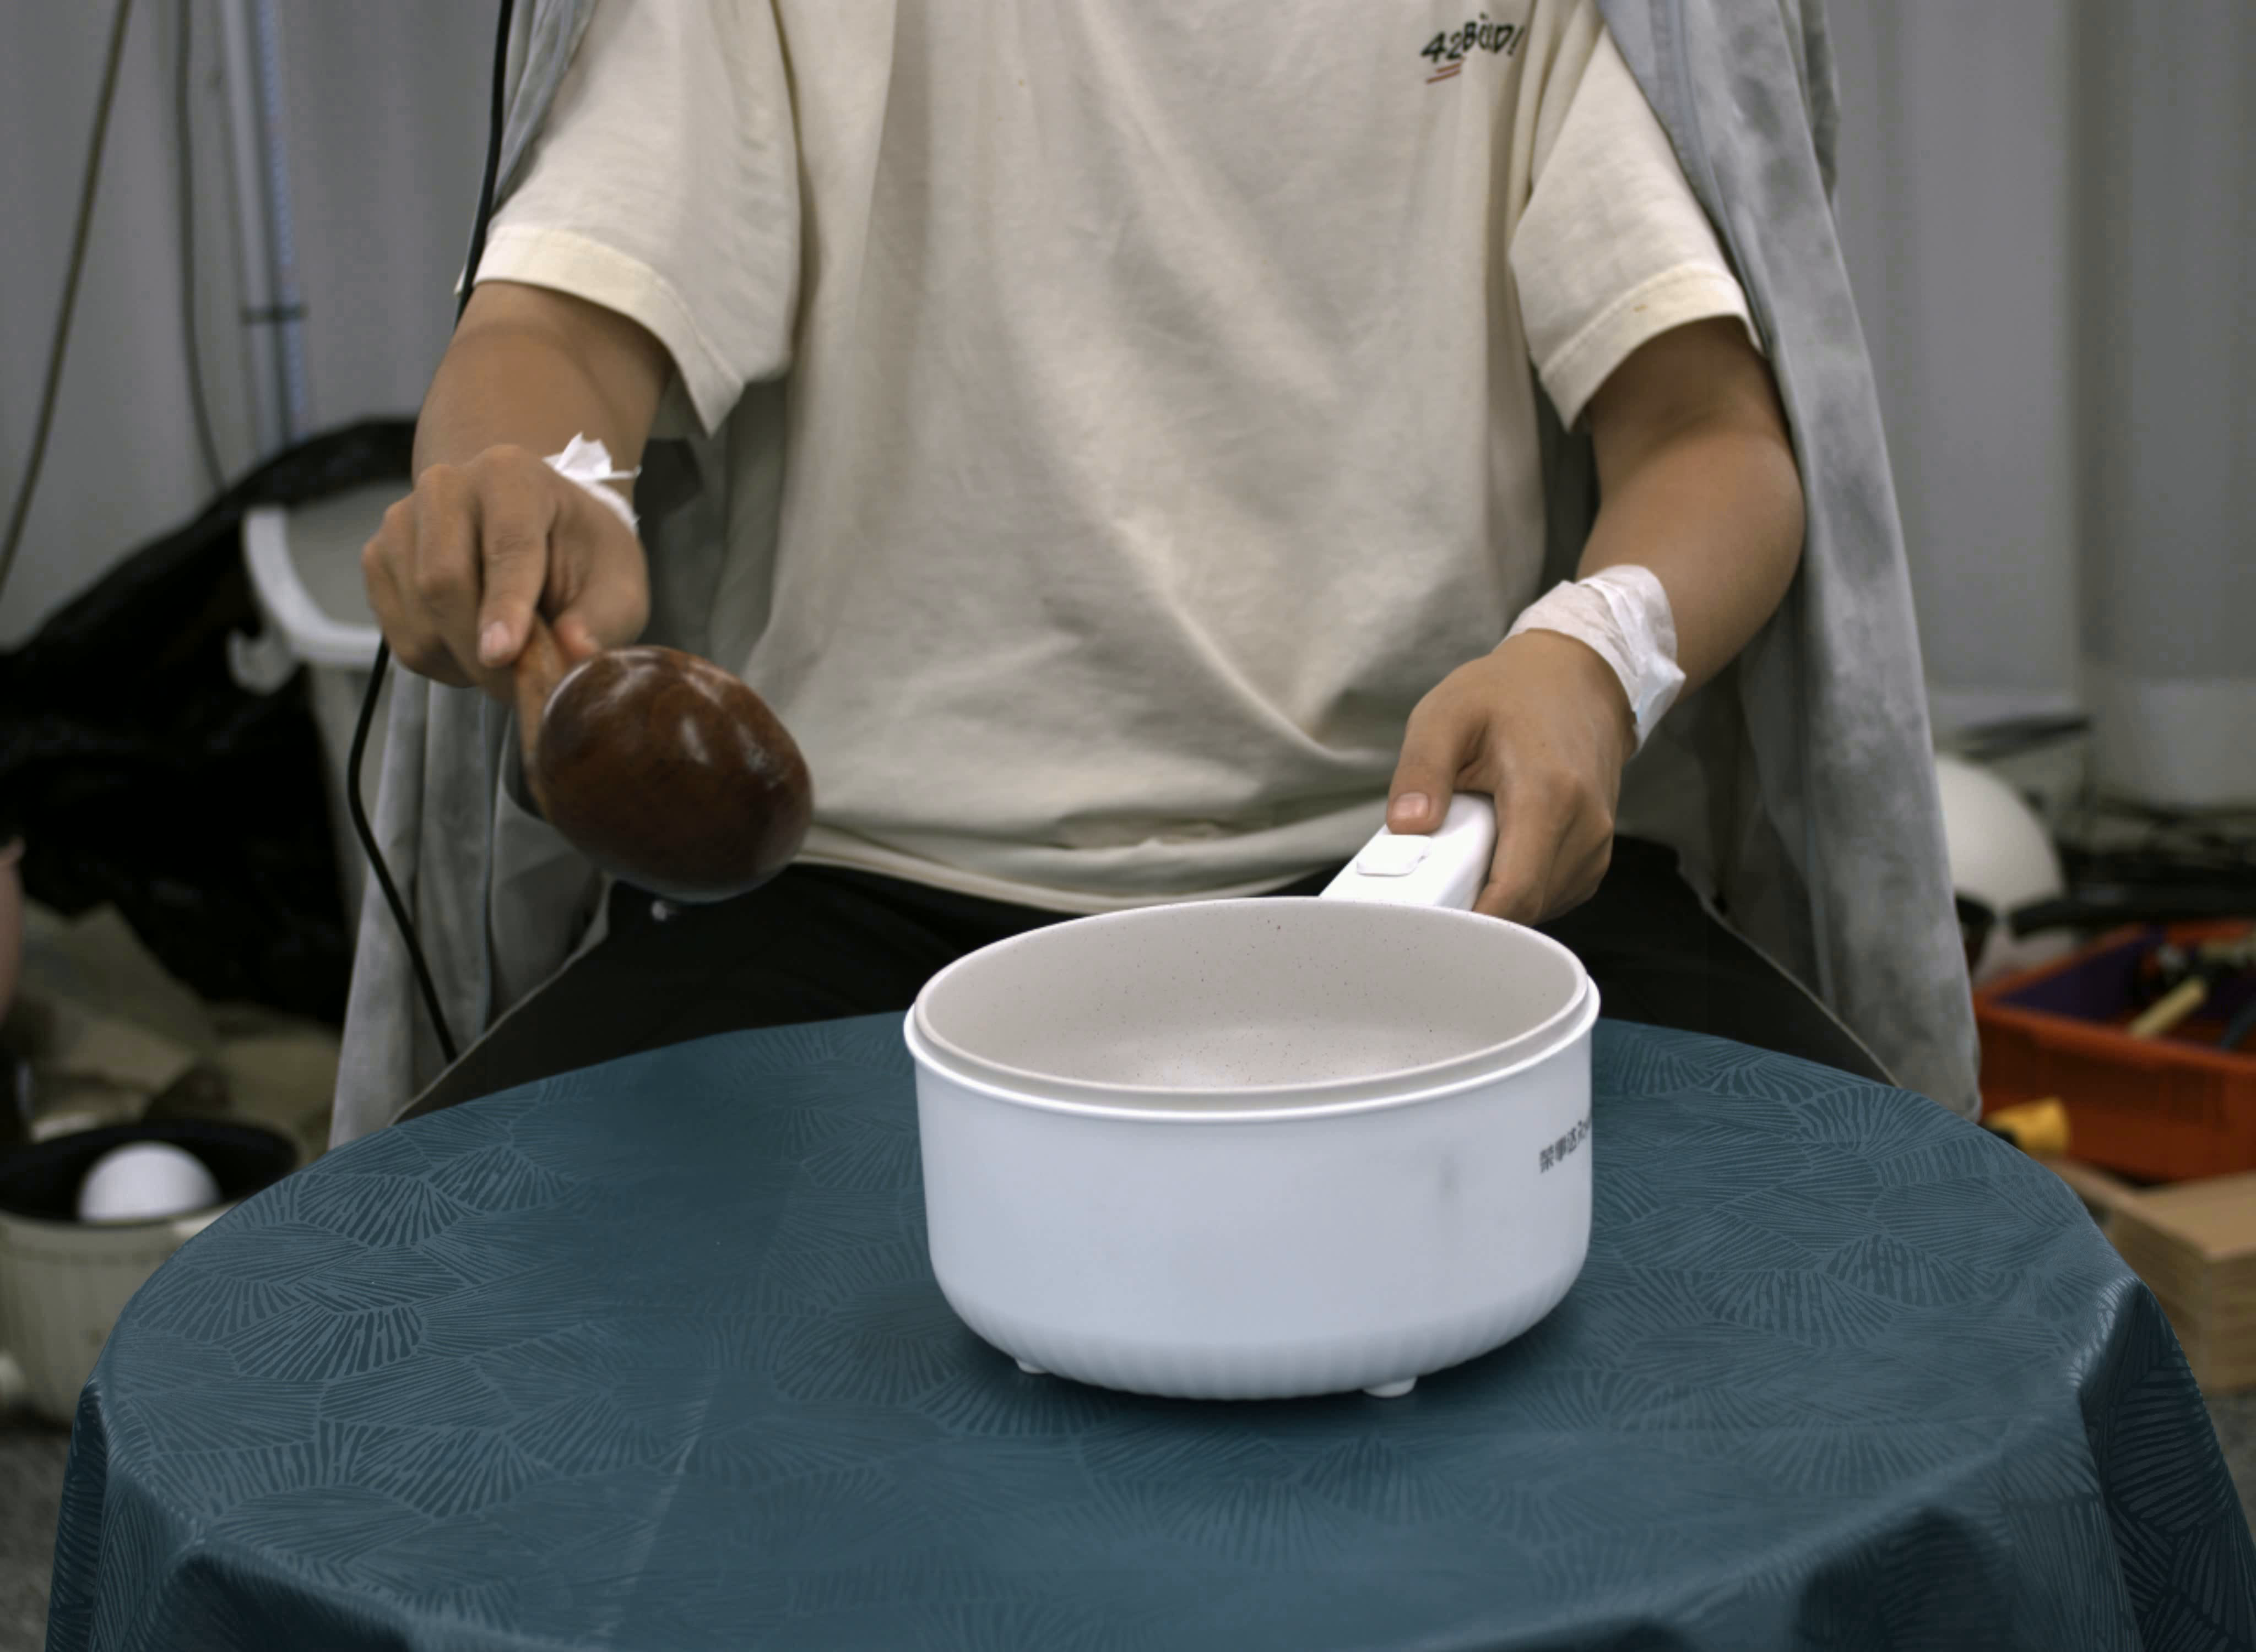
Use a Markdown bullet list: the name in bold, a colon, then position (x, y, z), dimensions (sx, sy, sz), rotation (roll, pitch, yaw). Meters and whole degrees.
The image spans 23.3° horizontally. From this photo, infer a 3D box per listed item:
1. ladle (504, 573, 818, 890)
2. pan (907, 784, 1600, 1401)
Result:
- **ladle**: position (-0.143, -0.049, 1.608), dimensions (0.076, 0.081, 0.276), rotation (-32, 20, 2)
- **pan**: position (0.062, 0.076, 1.660), dimensions (0.201, 0.102, 0.356), rotation (2, 15, 18)
